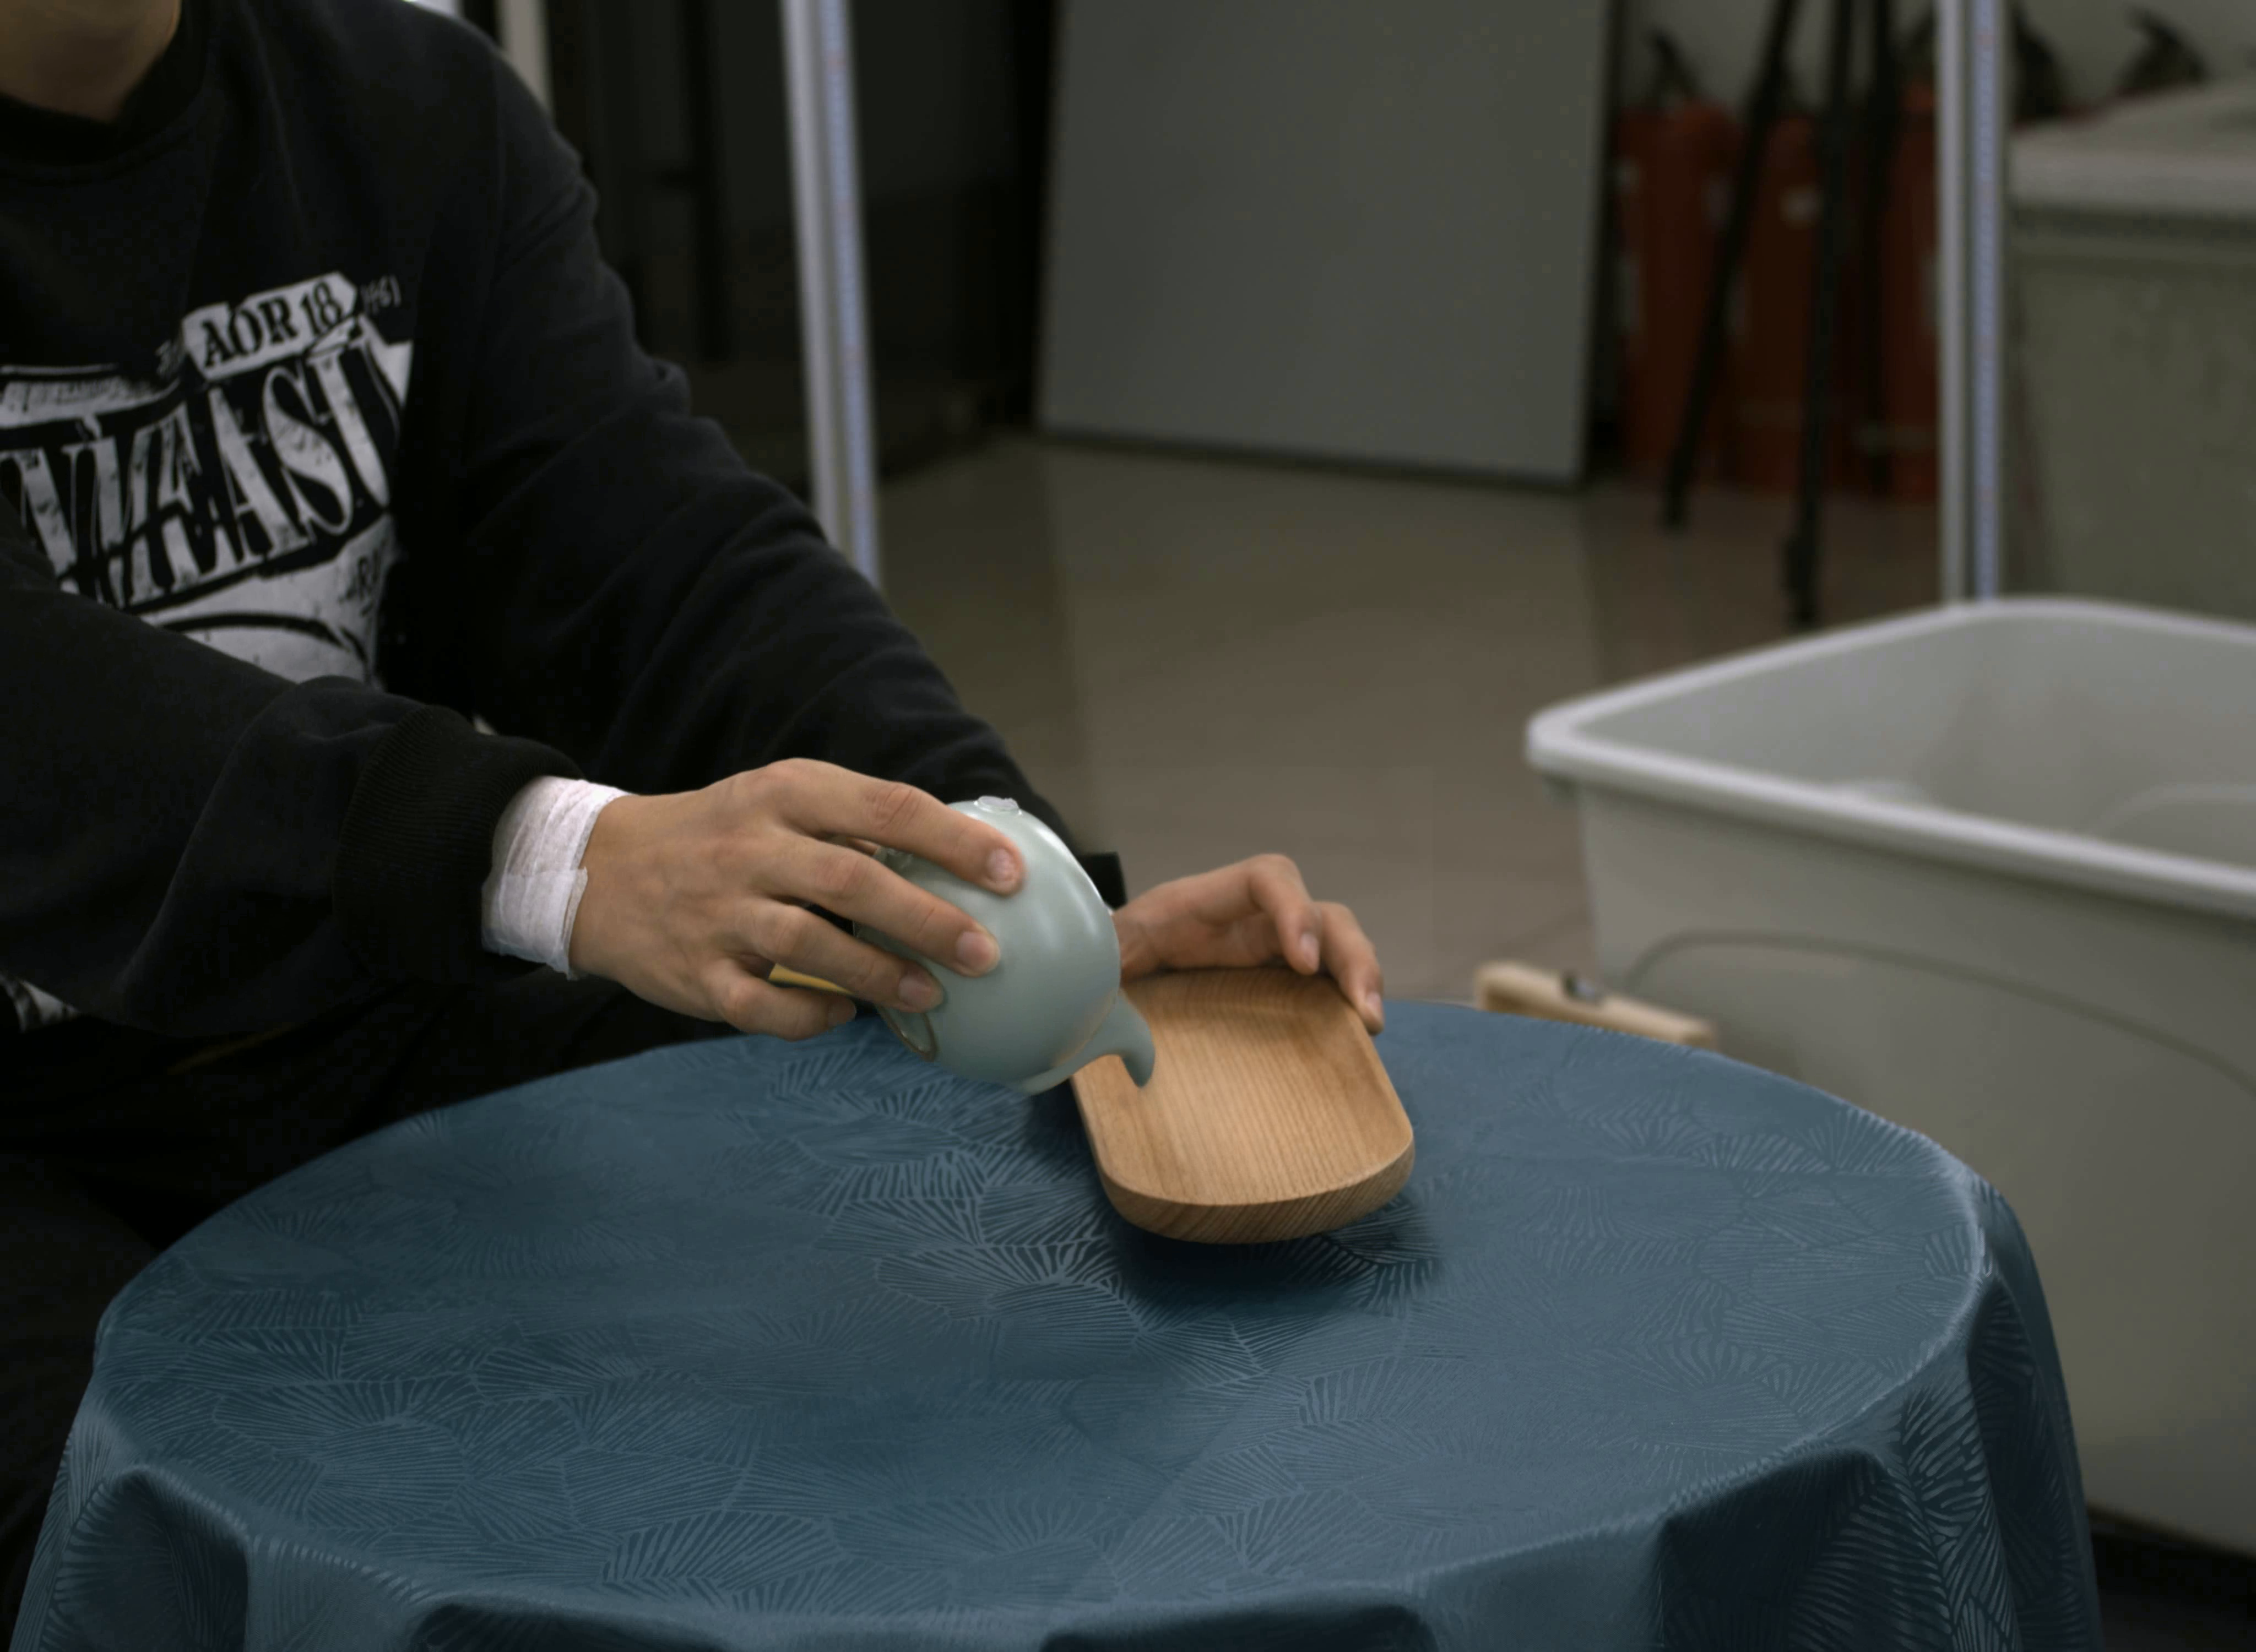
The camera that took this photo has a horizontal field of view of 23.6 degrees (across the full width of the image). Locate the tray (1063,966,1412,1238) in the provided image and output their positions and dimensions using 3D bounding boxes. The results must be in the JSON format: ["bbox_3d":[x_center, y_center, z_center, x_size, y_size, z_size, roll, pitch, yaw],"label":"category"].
[{"bbox_3d":[0.033,0.088,1.767,0.100,0.020,0.232,-7,15,-5],"label":"tray"}]

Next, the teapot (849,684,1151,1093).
[{"bbox_3d":[-0.044,0.033,1.643,0.074,0.144,0.089,-30,26,-19],"label":"teapot"}]
